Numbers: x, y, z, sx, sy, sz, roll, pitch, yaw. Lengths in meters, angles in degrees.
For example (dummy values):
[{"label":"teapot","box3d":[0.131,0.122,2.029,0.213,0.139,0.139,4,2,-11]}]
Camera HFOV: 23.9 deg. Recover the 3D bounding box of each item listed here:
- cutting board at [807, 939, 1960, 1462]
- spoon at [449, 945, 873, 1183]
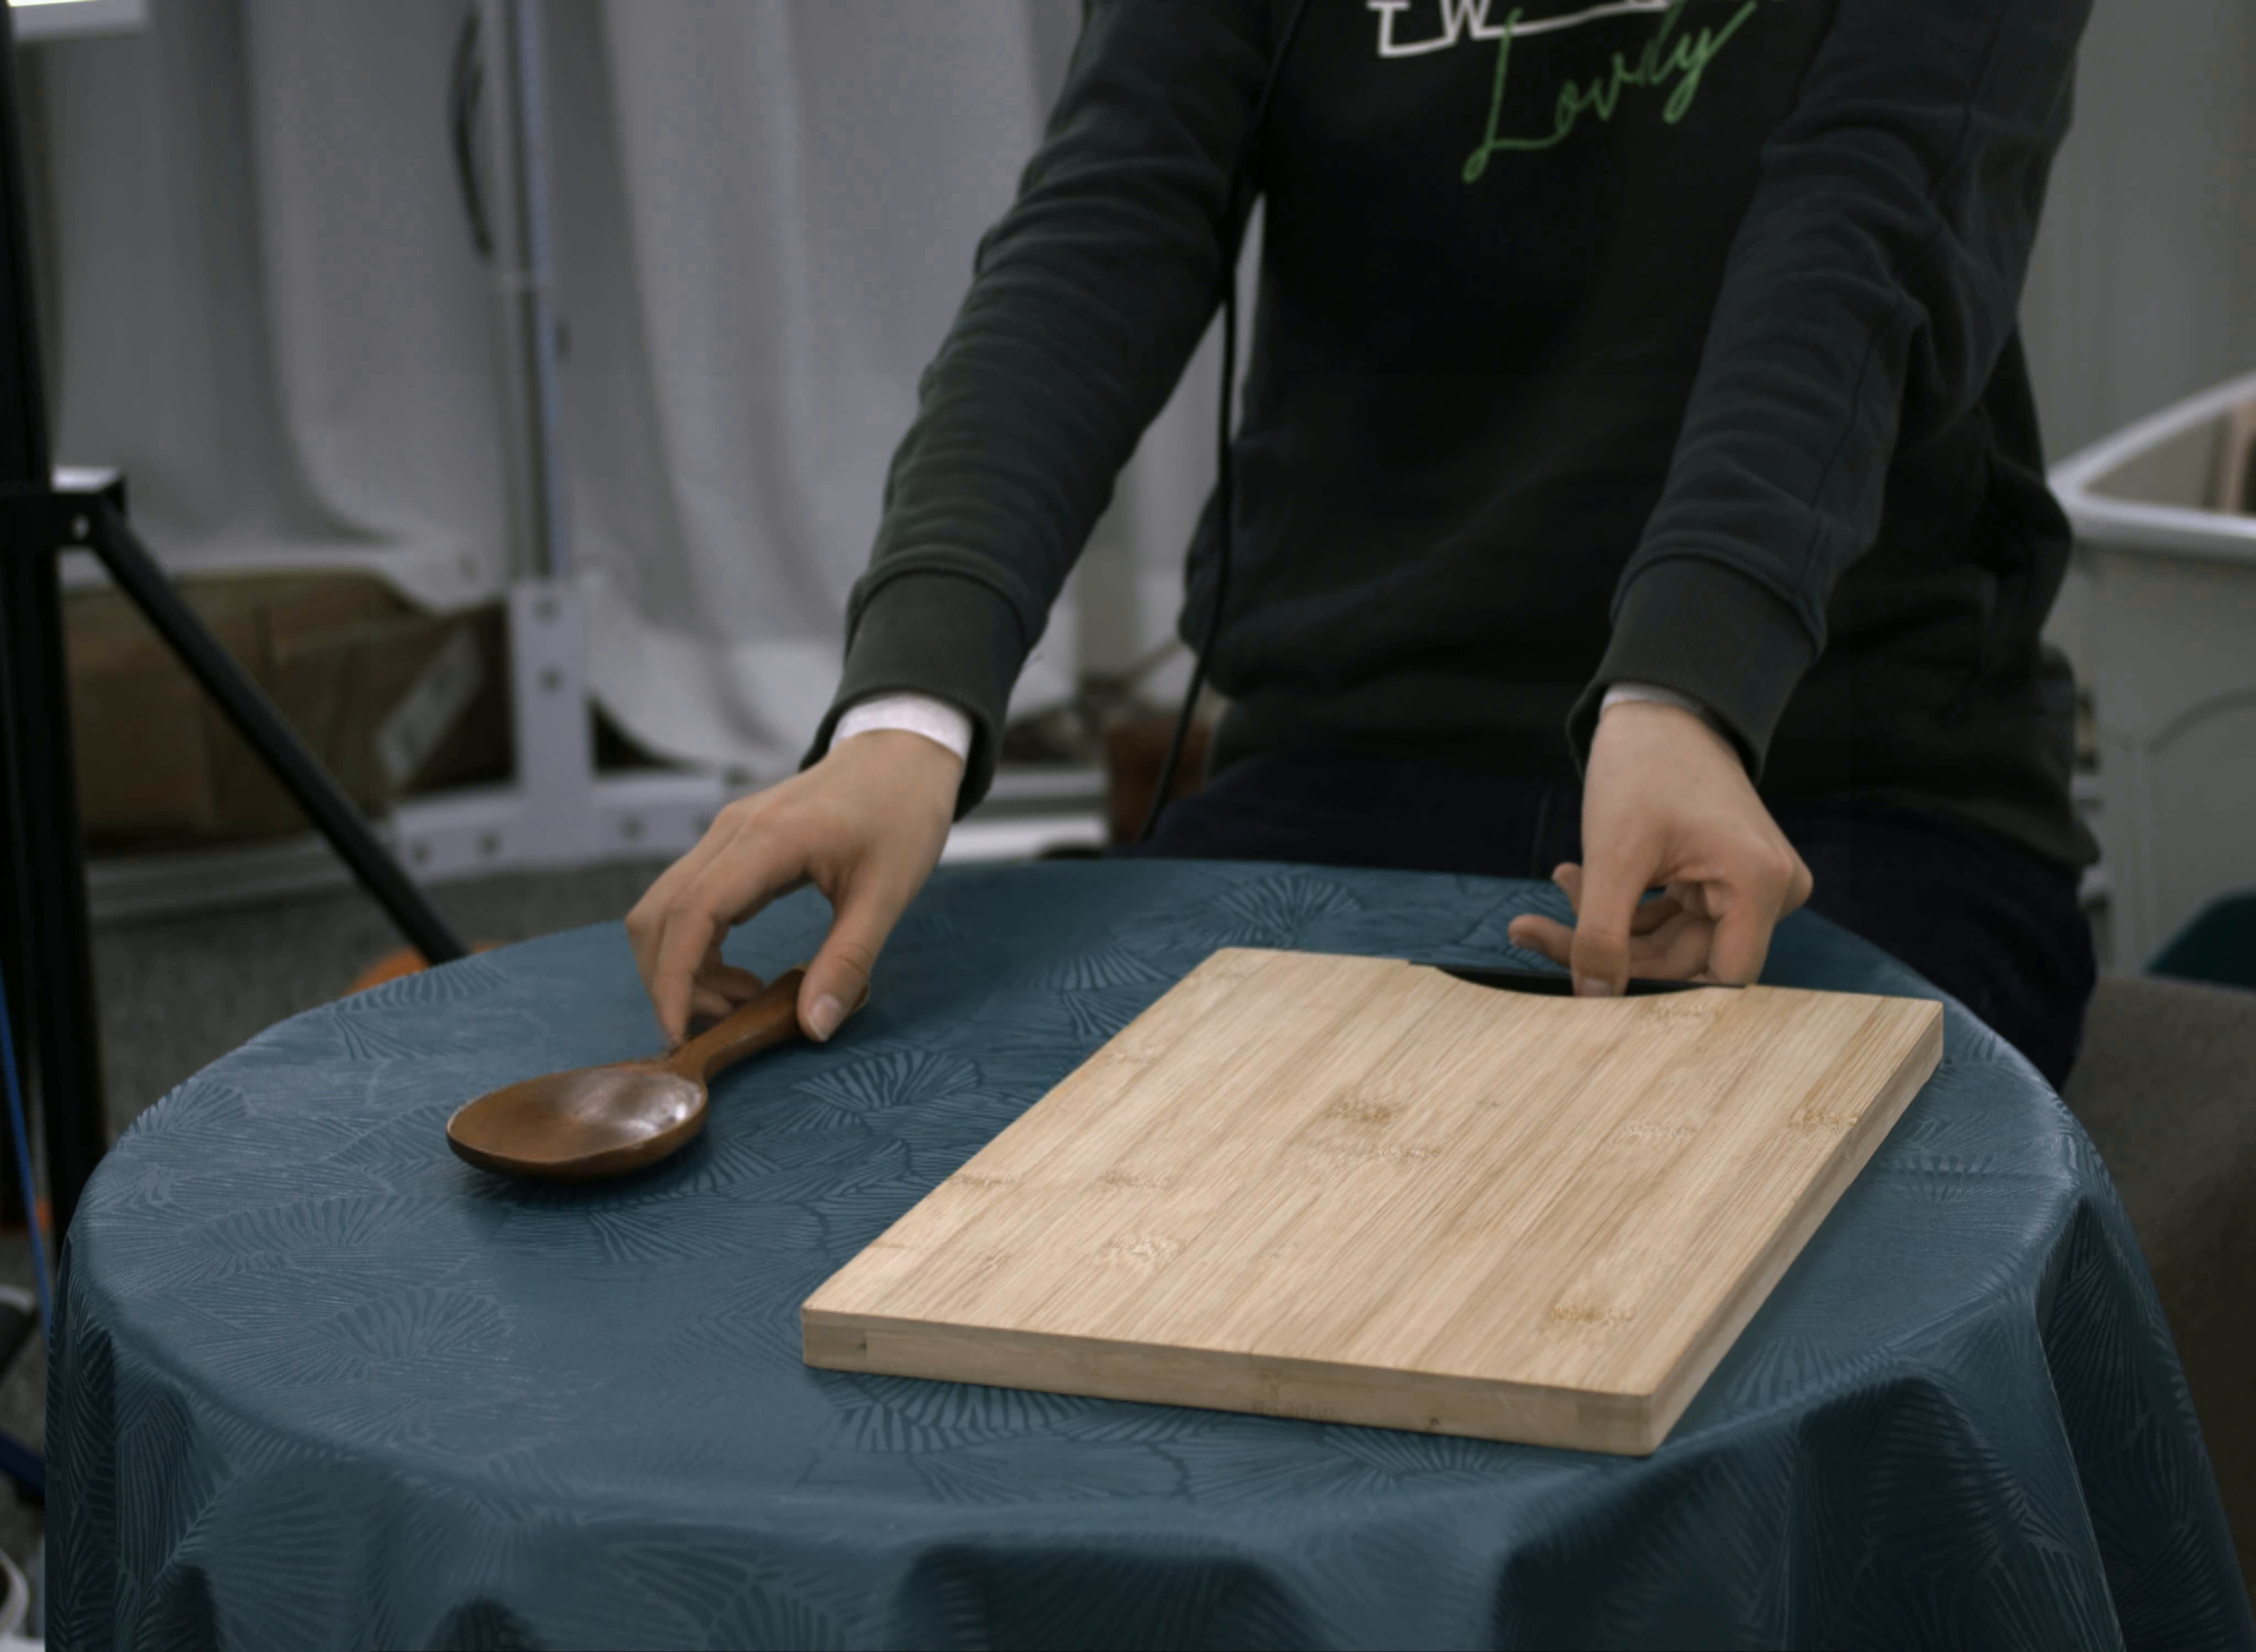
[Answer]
[{"label":"cutting board","box3d":[0.085,0.100,1.543,0.254,0.023,0.344,4,17,20]},{"label":"spoon","box3d":[-0.136,0.075,1.662,0.076,0.017,0.212,3,17,26]}]
